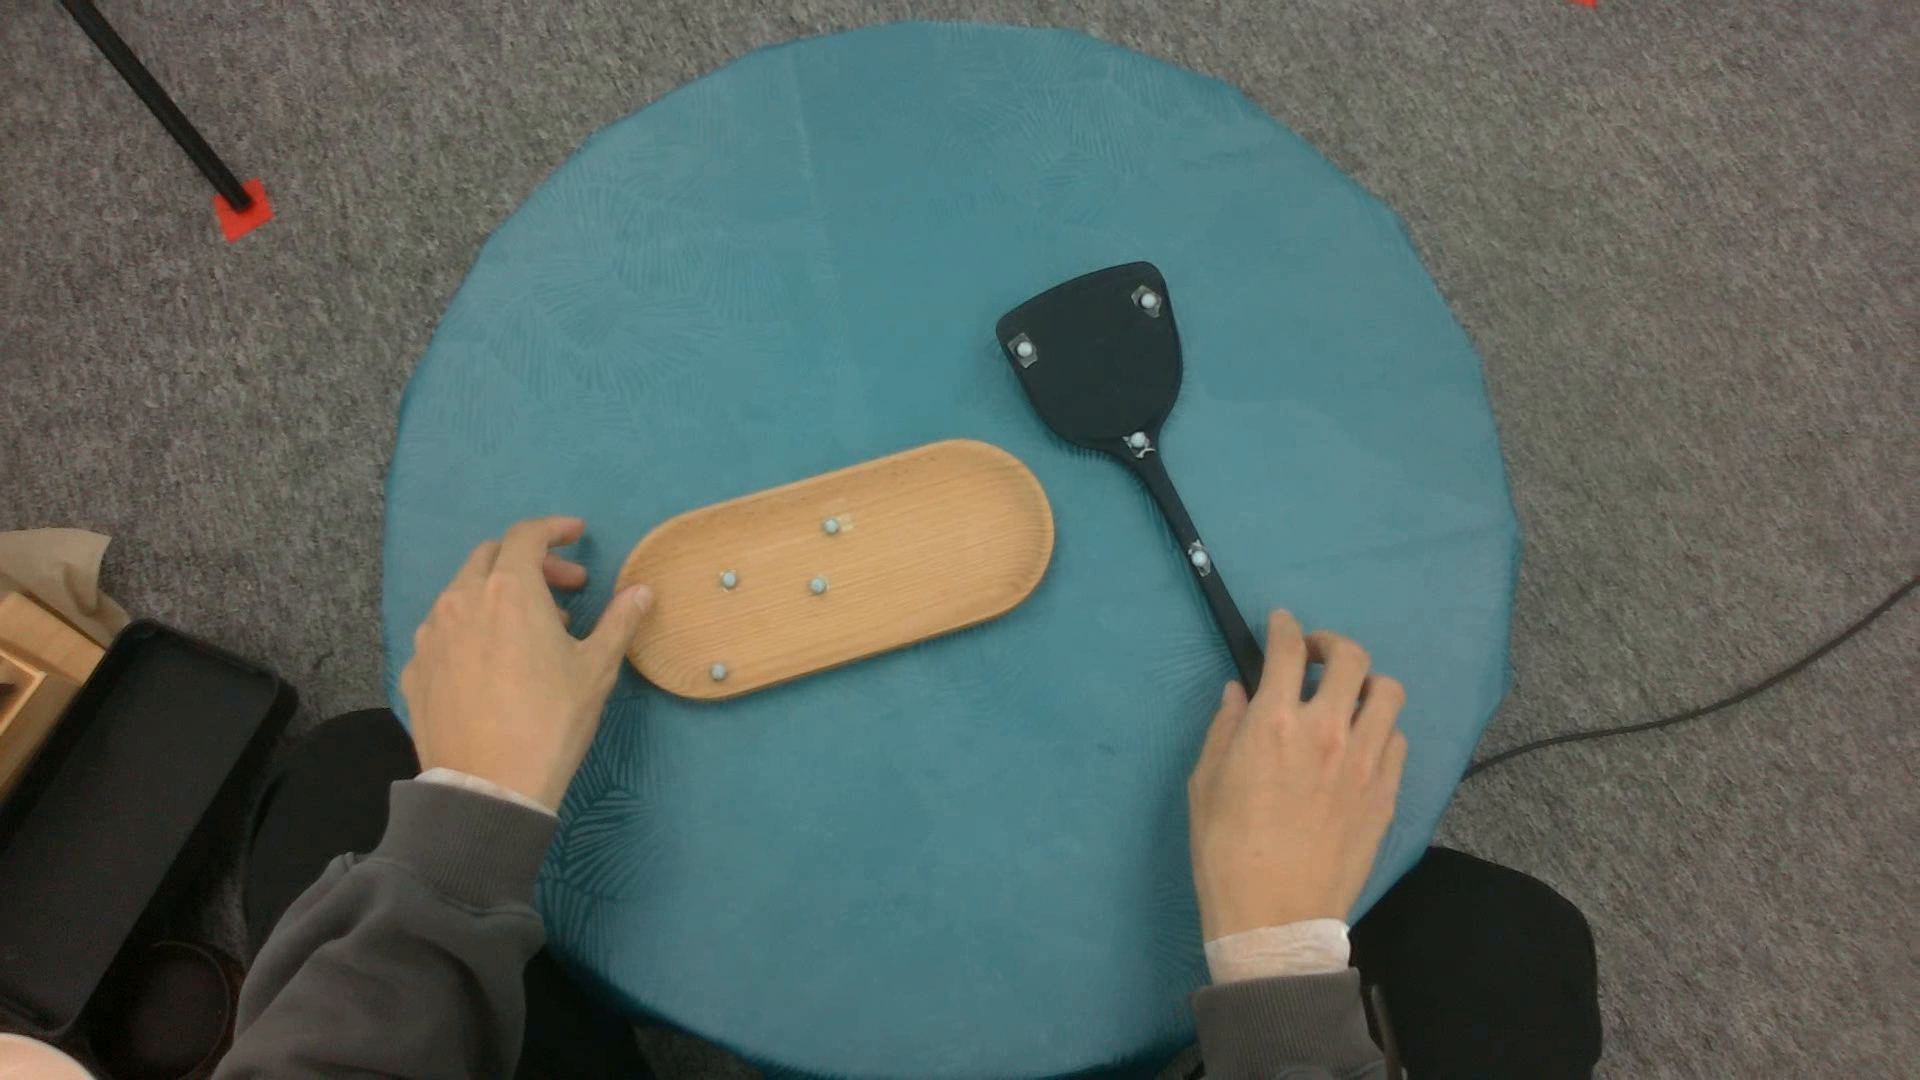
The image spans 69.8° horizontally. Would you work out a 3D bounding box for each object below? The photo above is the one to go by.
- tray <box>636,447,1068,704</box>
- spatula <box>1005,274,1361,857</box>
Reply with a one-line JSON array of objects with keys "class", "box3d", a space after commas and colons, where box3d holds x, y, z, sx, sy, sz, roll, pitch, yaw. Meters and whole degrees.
[{"class": "tray", "box3d": [-0.056, 0.018, 0.727, 0.231, 0.020, 0.102, -16, 73, -7]}, {"class": "spatula", "box3d": [0.130, 0.012, 0.720, 0.100, 0.040, 0.326, -23, 73, -7]}]
